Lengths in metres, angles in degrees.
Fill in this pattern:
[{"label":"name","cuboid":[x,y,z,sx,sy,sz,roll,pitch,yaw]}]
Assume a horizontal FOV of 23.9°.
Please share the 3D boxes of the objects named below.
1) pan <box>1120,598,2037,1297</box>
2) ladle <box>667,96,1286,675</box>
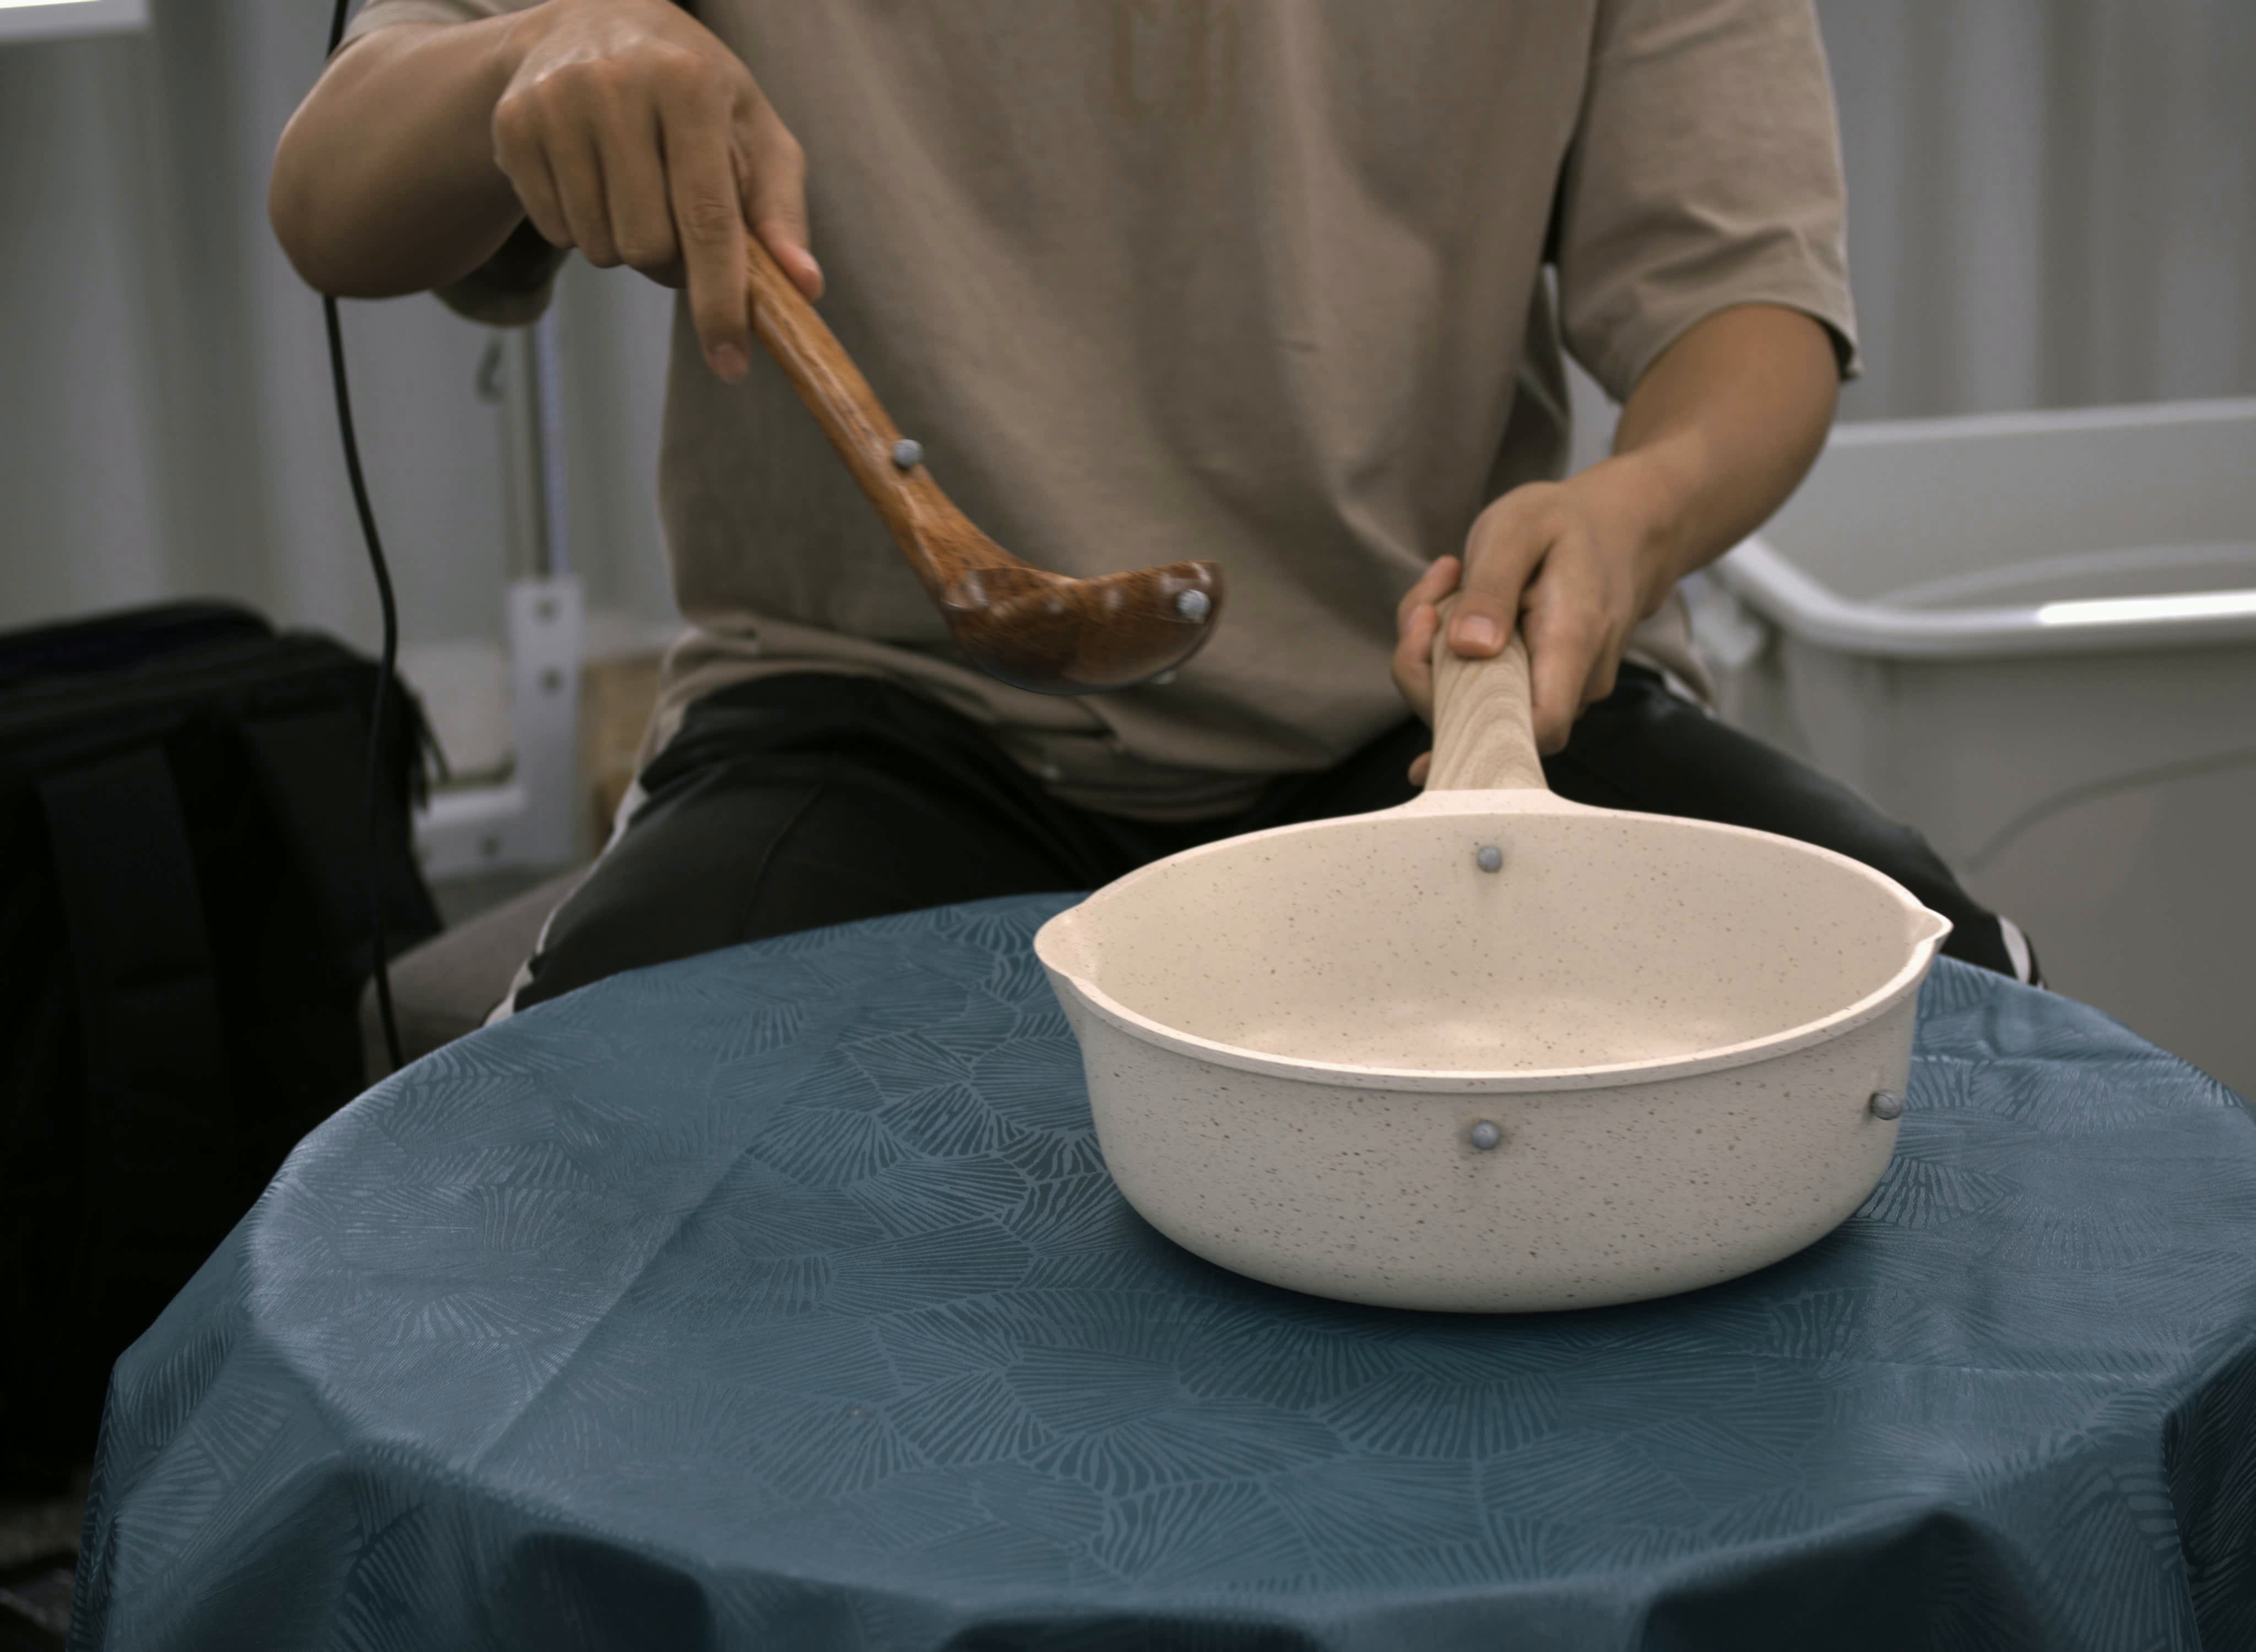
[{"label":"pan","cuboid":[0.134,0.032,1.611,0.263,0.102,0.435,-3,16,4]},{"label":"ladle","cuboid":[-0.051,-0.144,1.572,0.080,0.077,0.279,-2,48,-46]}]
